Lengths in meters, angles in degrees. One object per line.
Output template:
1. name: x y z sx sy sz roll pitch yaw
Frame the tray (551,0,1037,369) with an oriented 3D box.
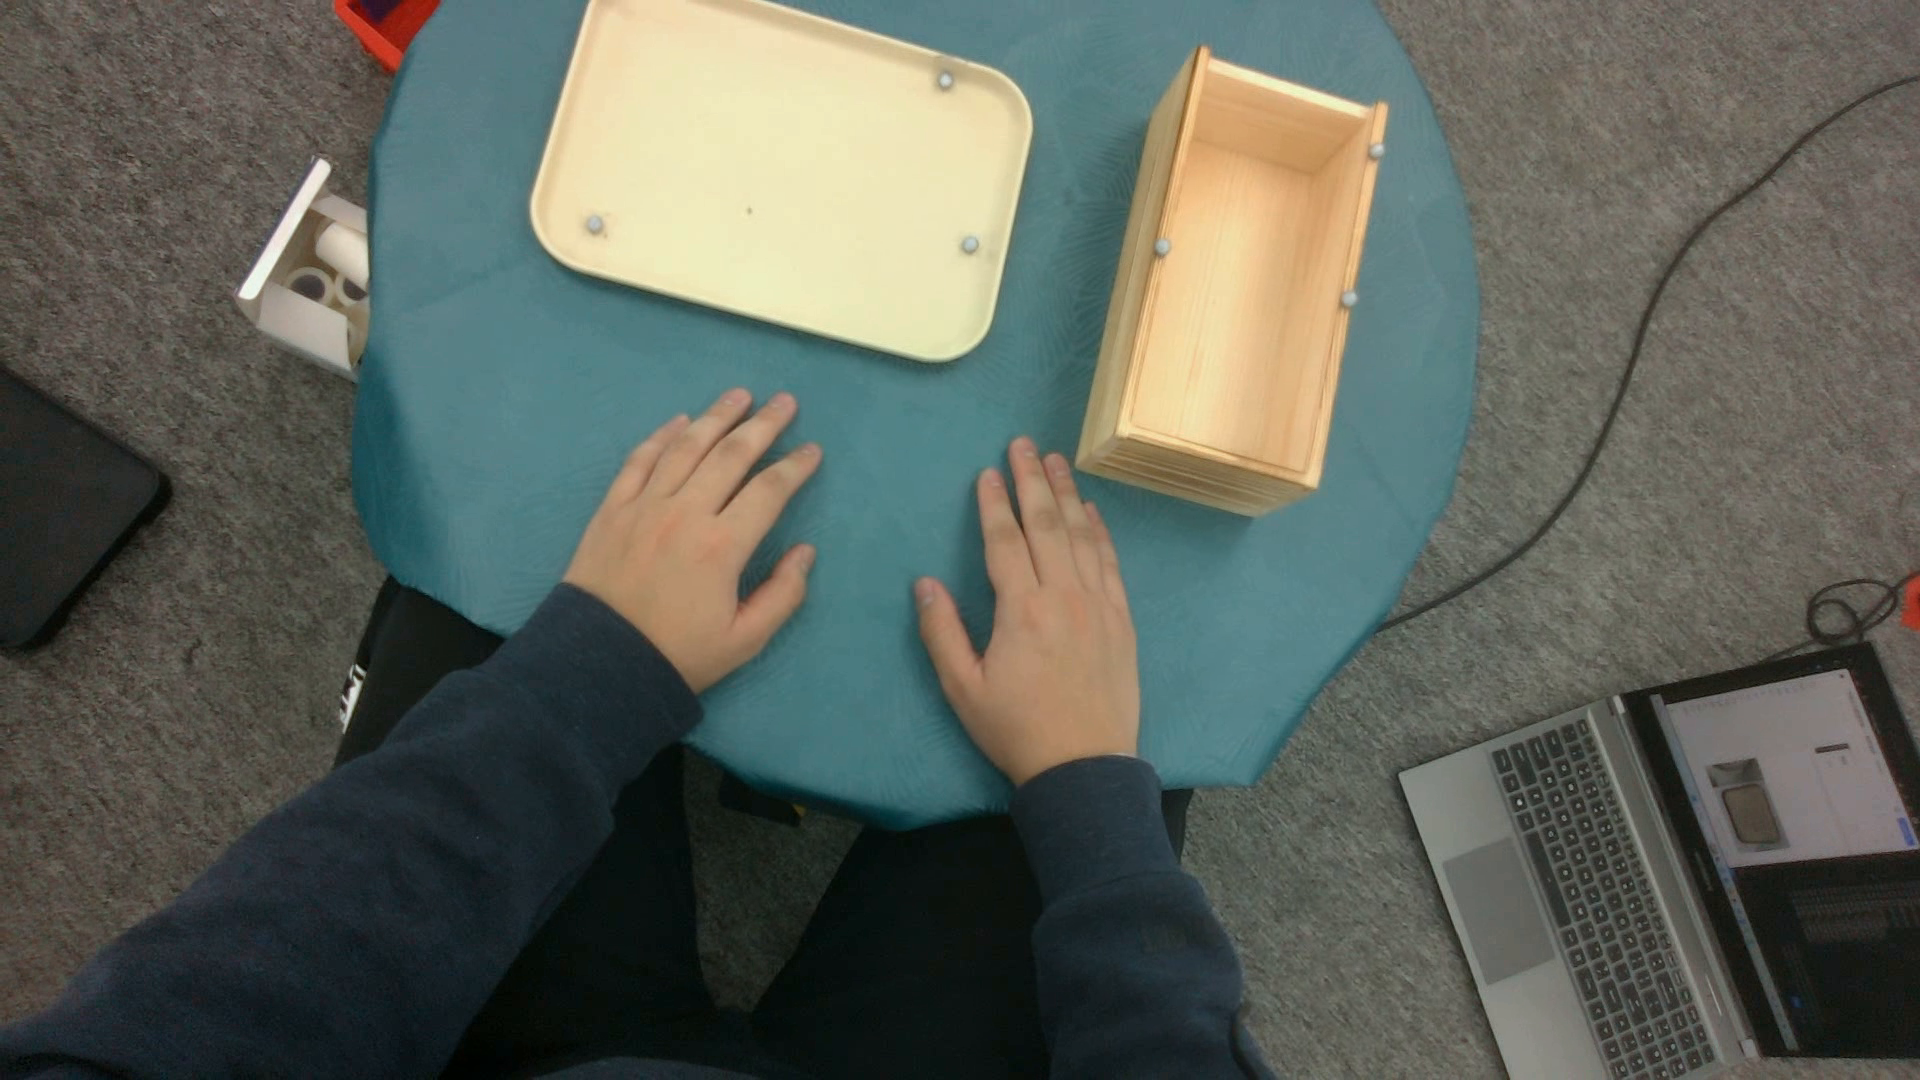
1. tray: -0.085 -0.191 0.738 0.240 0.017 0.171 13 78 -7

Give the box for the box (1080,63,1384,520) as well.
1. box: 0.144 -0.129 0.734 0.107 0.080 0.212 14 78 -6
